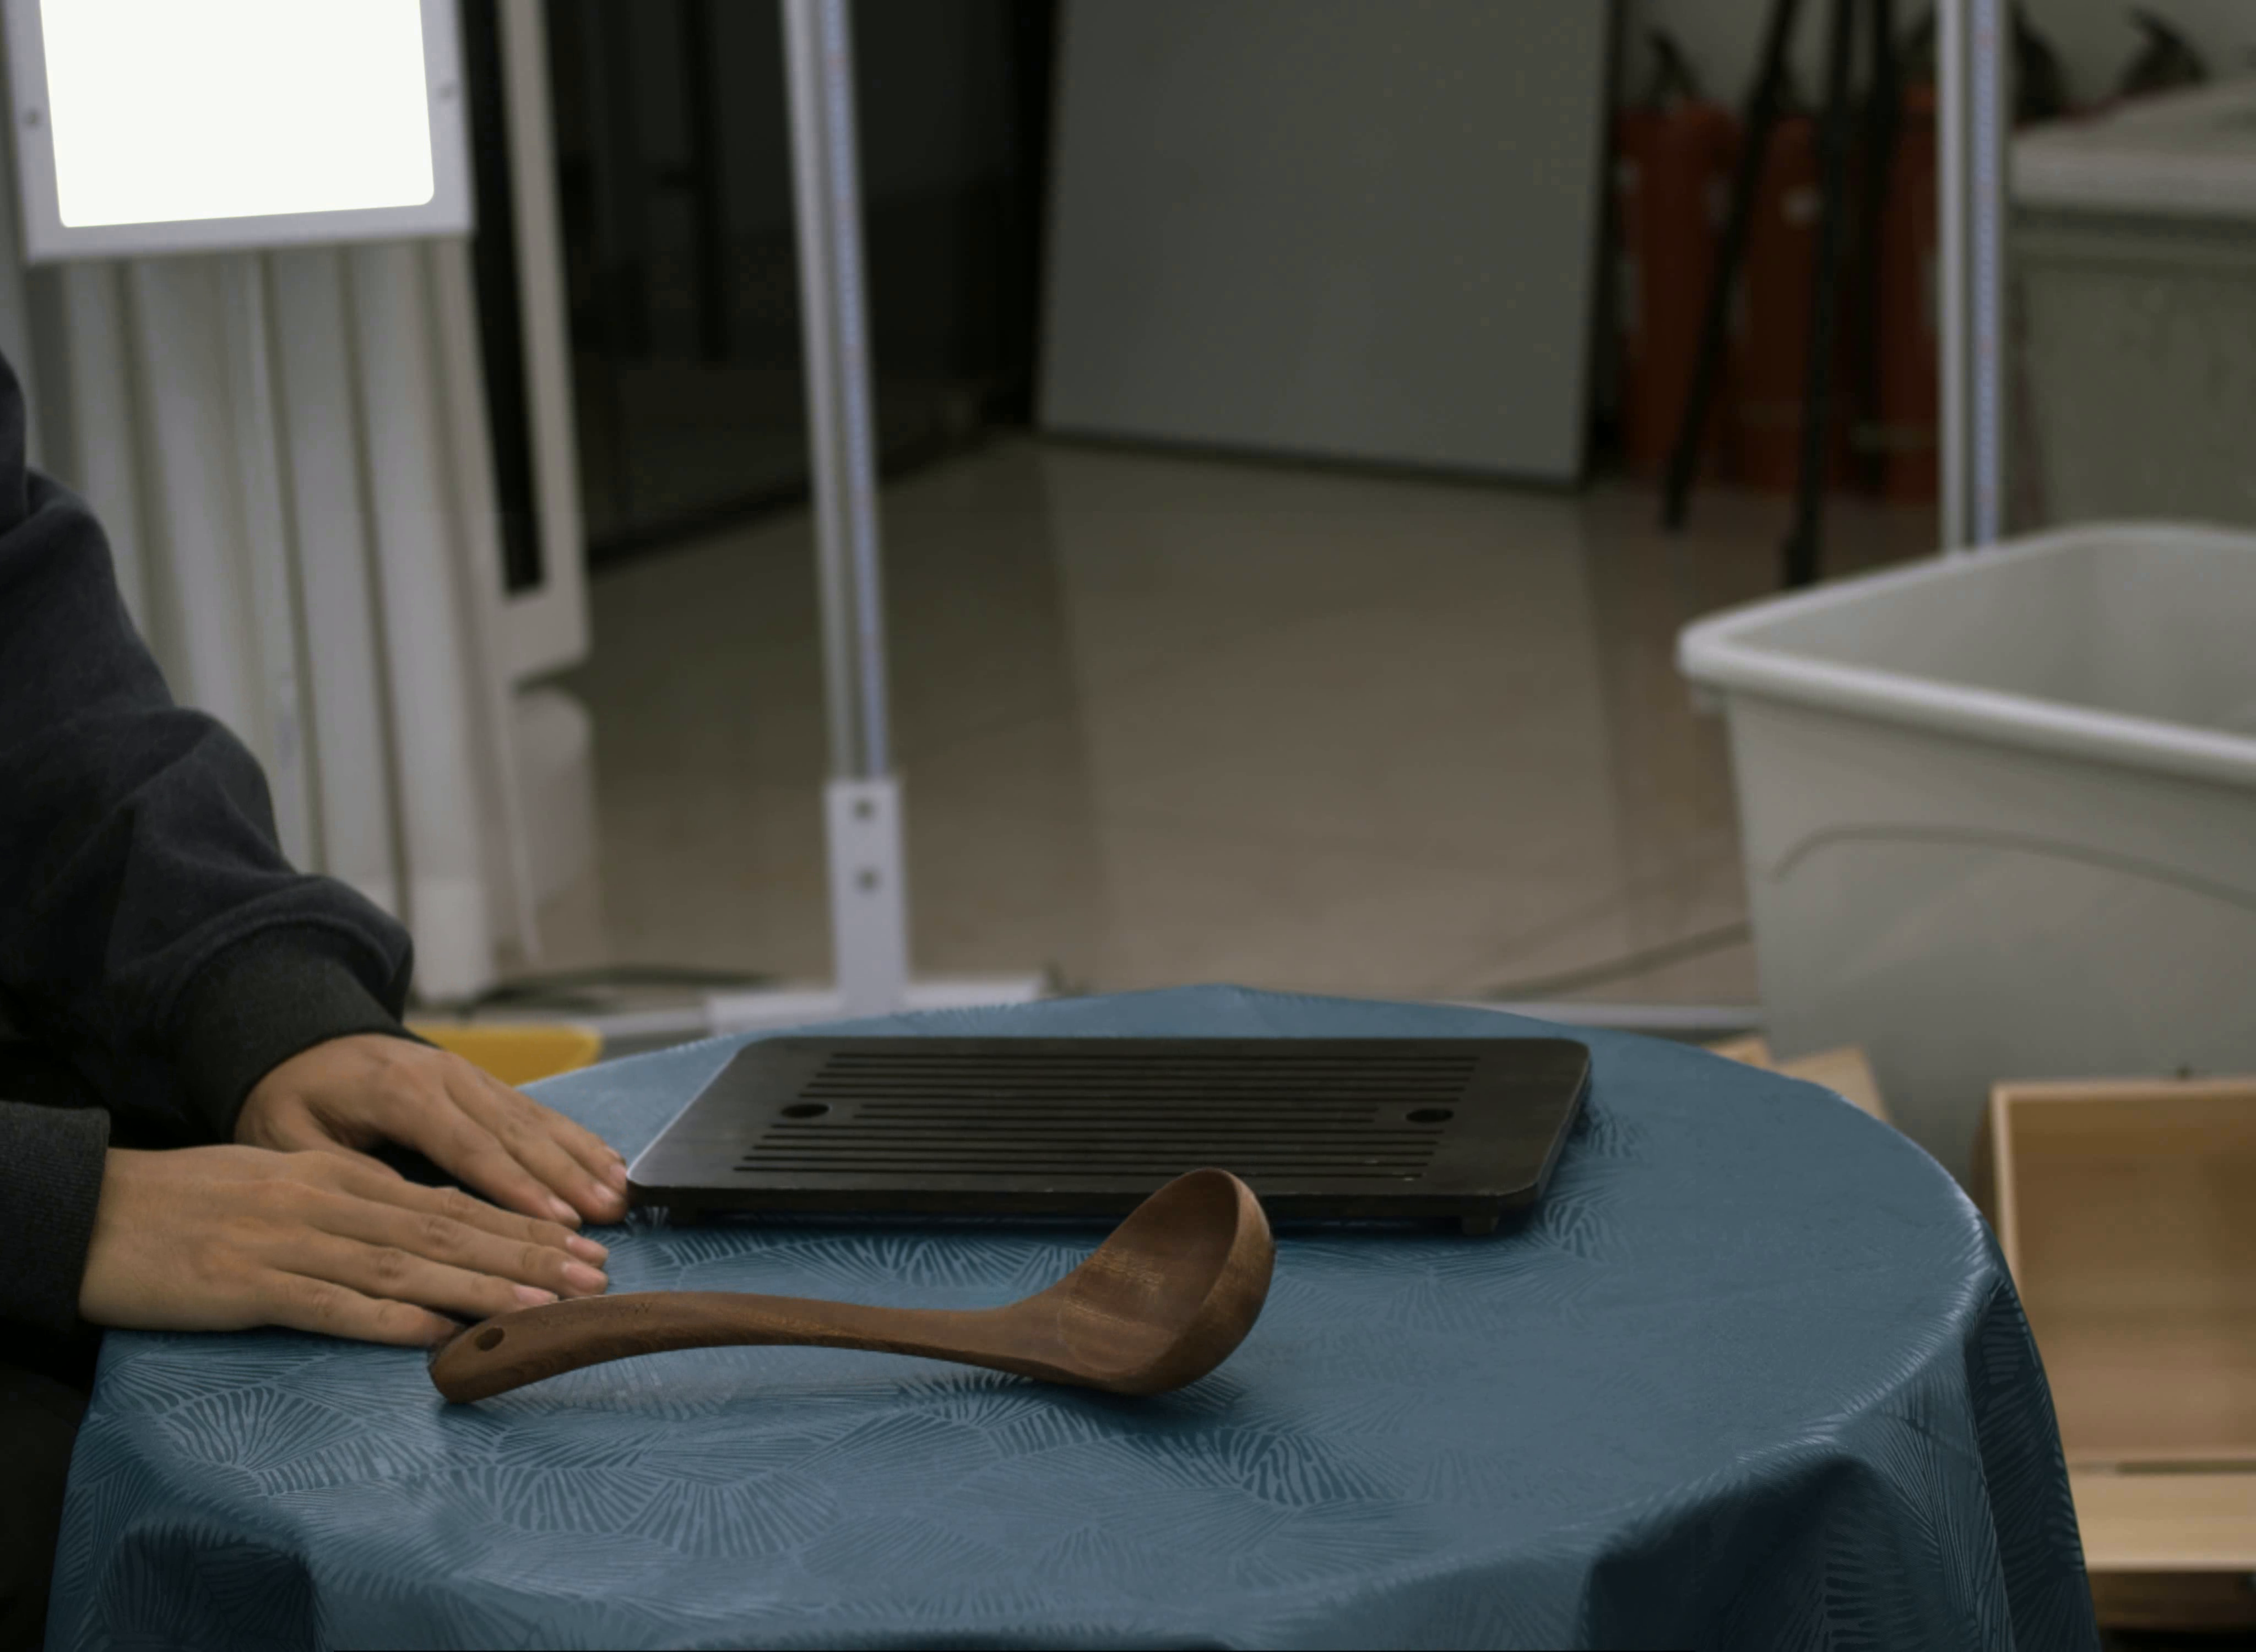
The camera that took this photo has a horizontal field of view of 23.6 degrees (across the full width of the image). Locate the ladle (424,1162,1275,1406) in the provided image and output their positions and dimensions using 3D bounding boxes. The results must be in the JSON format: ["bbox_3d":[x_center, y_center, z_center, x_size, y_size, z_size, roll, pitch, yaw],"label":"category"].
[{"bbox_3d":[-0.084,0.138,1.589,0.258,0.065,0.077,-2,33,7],"label":"ladle"}]

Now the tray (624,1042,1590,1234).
[{"bbox_3d":[-0.003,0.103,1.805,0.304,0.019,0.169,-1,14,14],"label":"tray"}]
